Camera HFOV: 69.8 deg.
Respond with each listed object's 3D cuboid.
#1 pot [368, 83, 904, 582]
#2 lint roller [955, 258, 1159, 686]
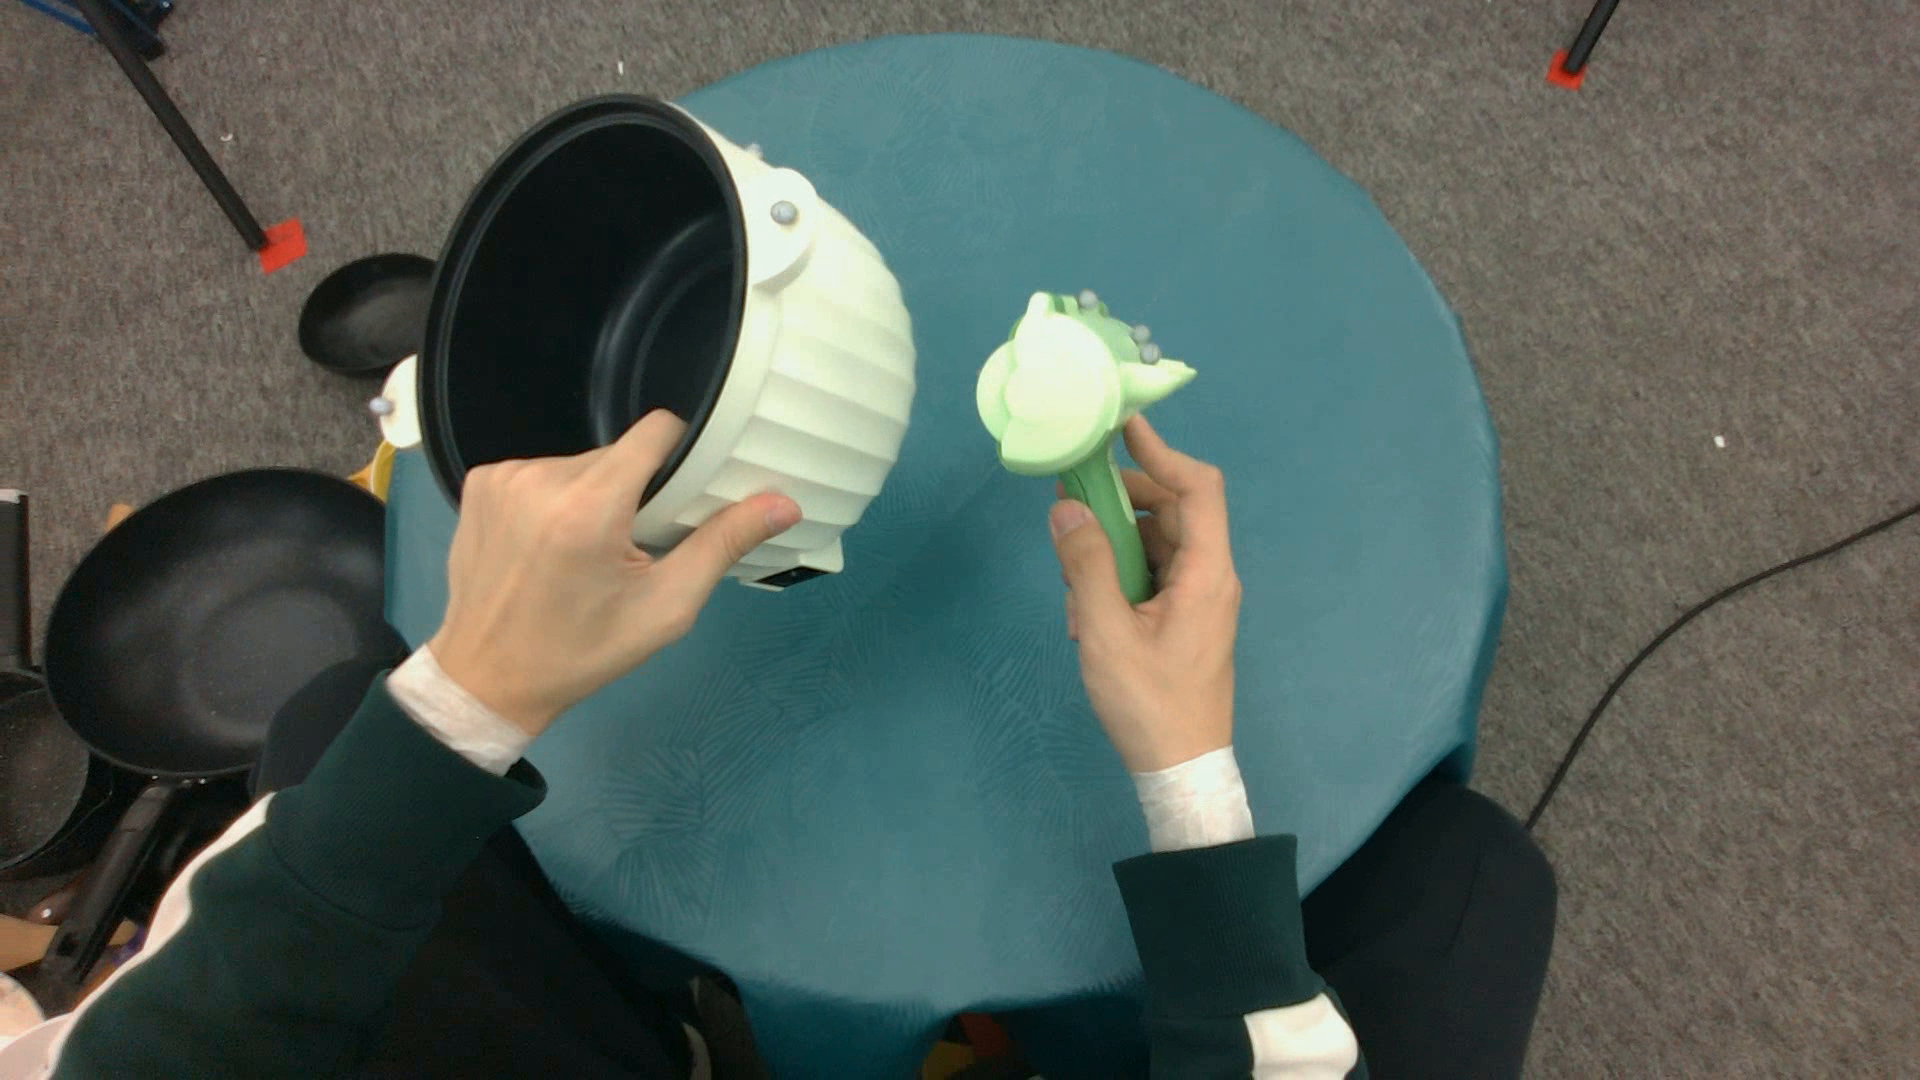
[{"bbox_3d":[-0.121,-0.082,0.577,0.239,0.143,0.191,-17,75,30],"label":"pot"},{"bbox_3d":[0.063,-0.032,0.591,0.082,0.199,0.183,-21,96,11],"label":"lint roller"}]
